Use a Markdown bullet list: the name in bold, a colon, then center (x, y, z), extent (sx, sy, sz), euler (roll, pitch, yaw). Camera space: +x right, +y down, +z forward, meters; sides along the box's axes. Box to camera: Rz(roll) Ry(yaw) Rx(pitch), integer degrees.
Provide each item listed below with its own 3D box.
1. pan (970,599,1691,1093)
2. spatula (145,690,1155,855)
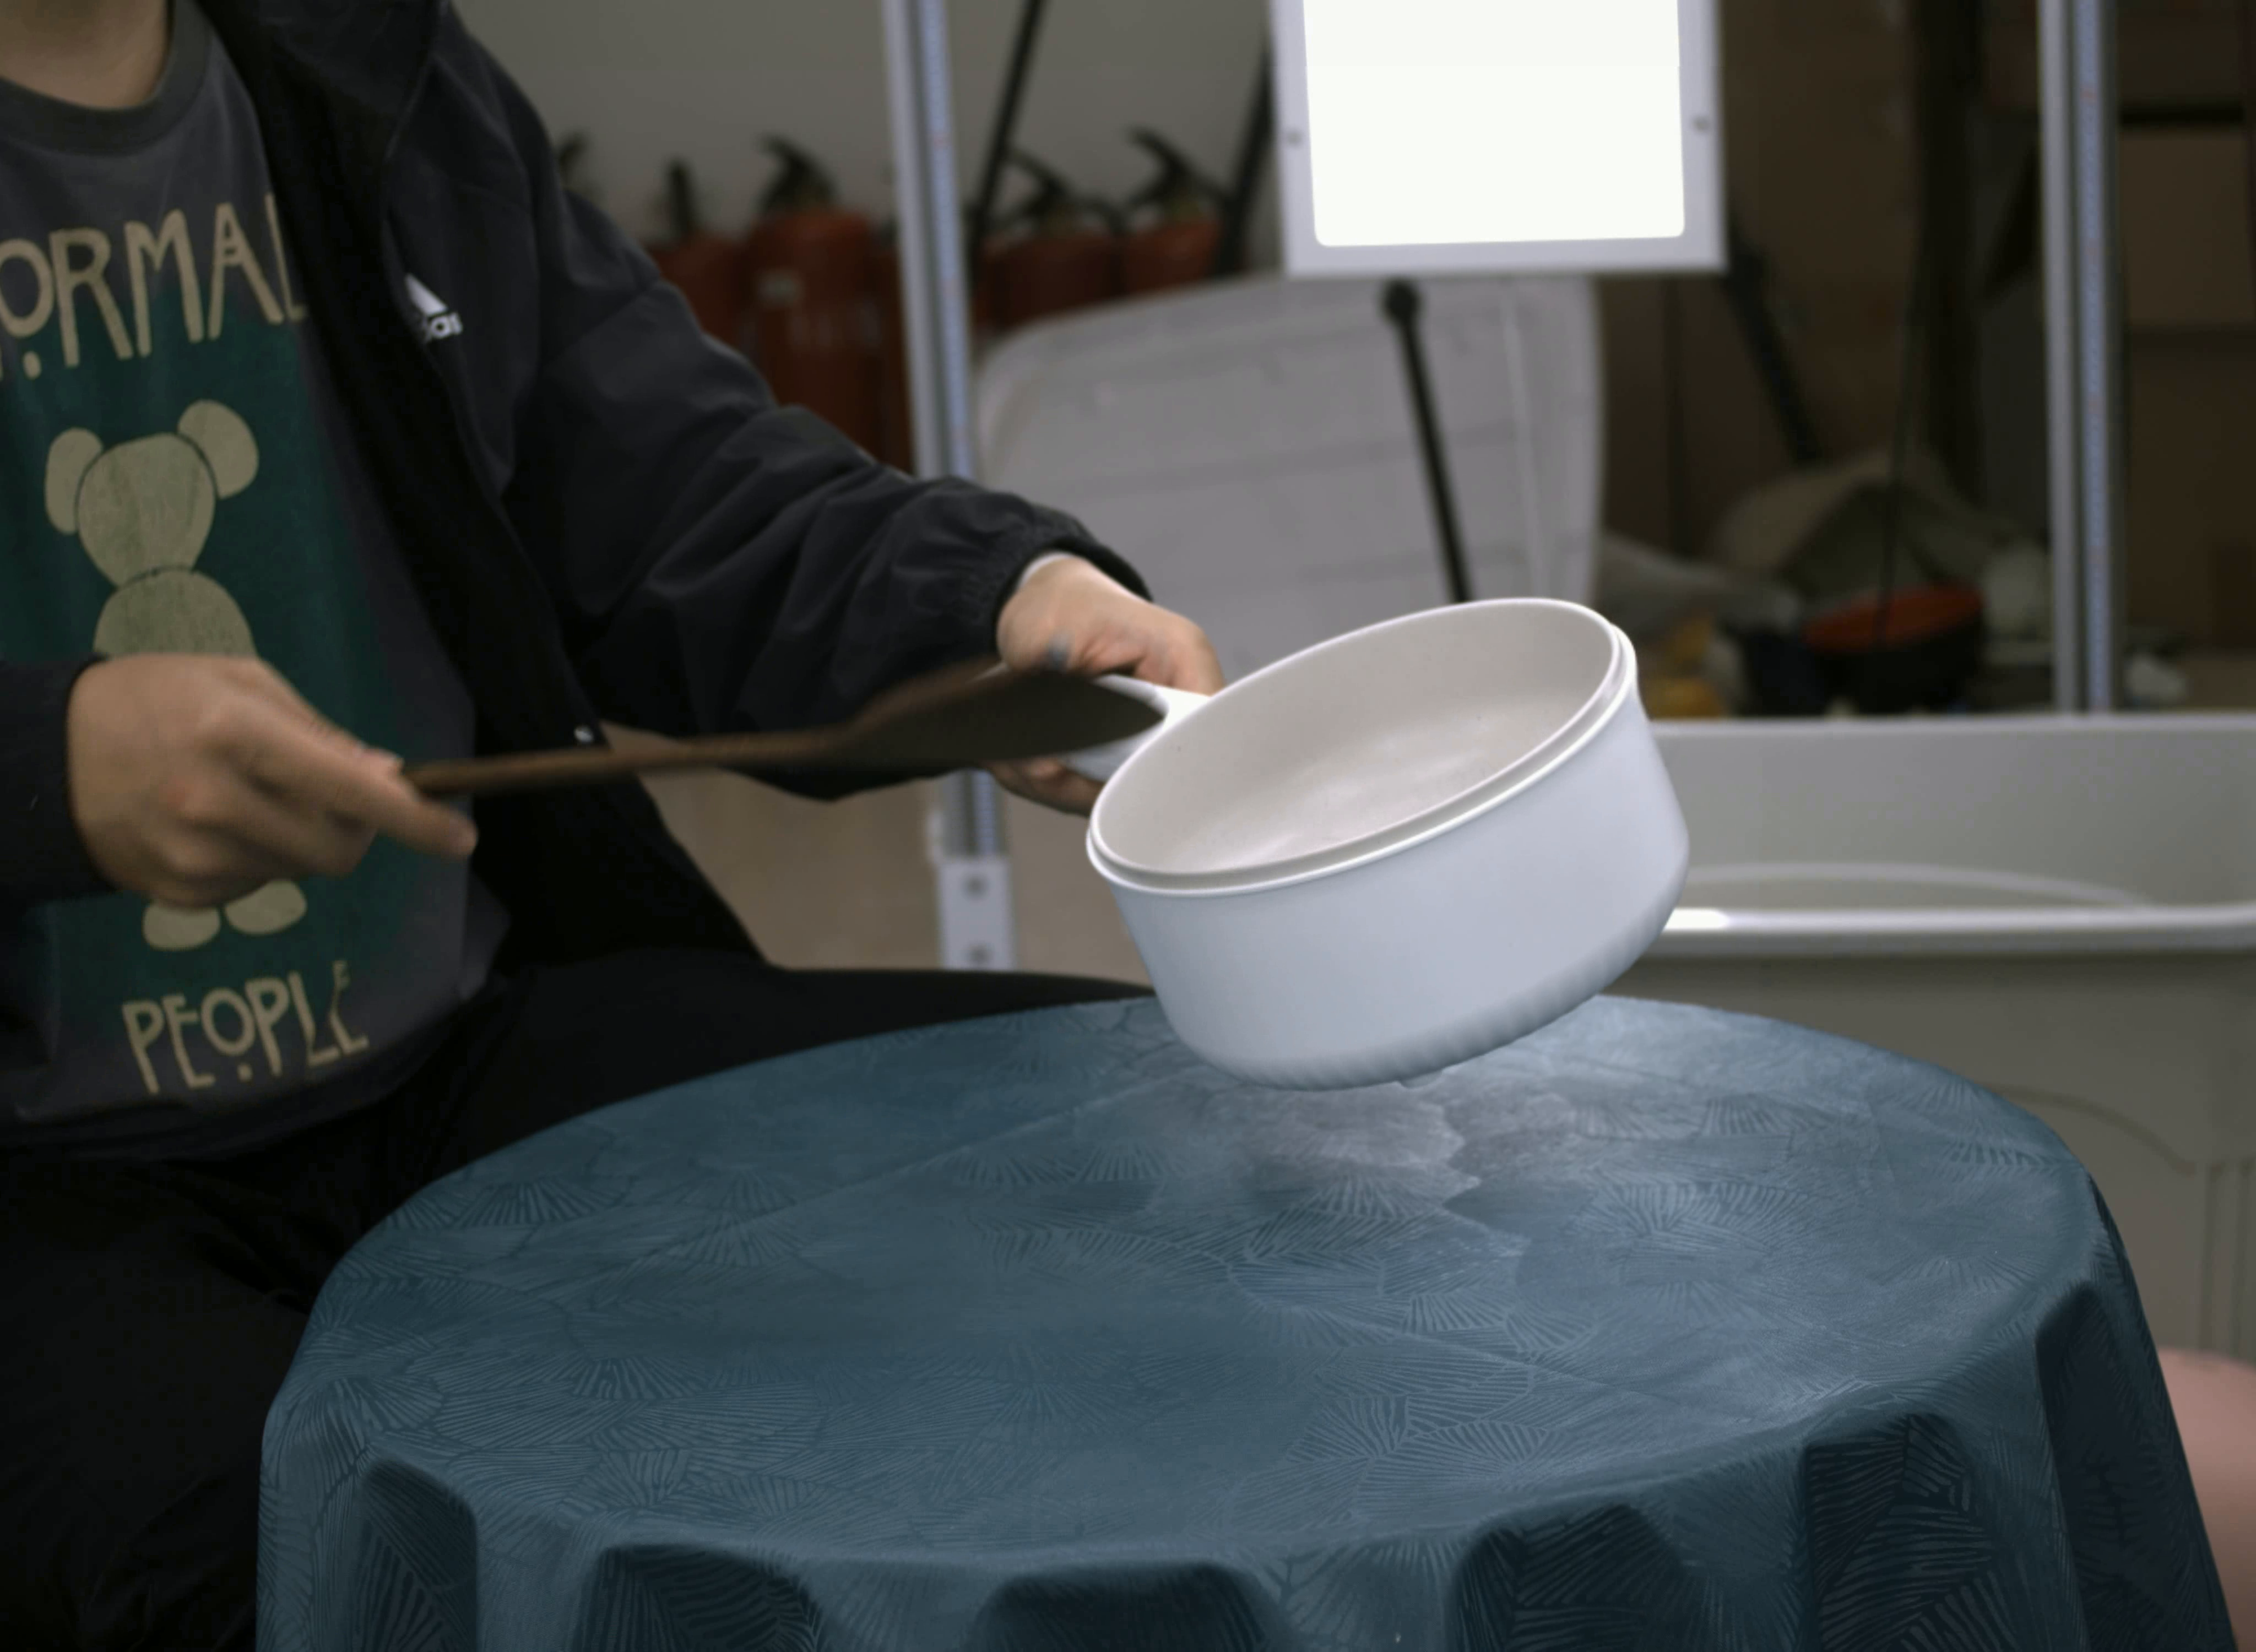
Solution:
- **pan**: center (0.057, 0.004, 1.975), extent (0.198, 0.102, 0.361), euler (-33, 21, -23)
- **spatula**: center (-0.173, -0.014, 1.861), extent (0.393, 0.016, 0.094), euler (-5, -12, 28)
